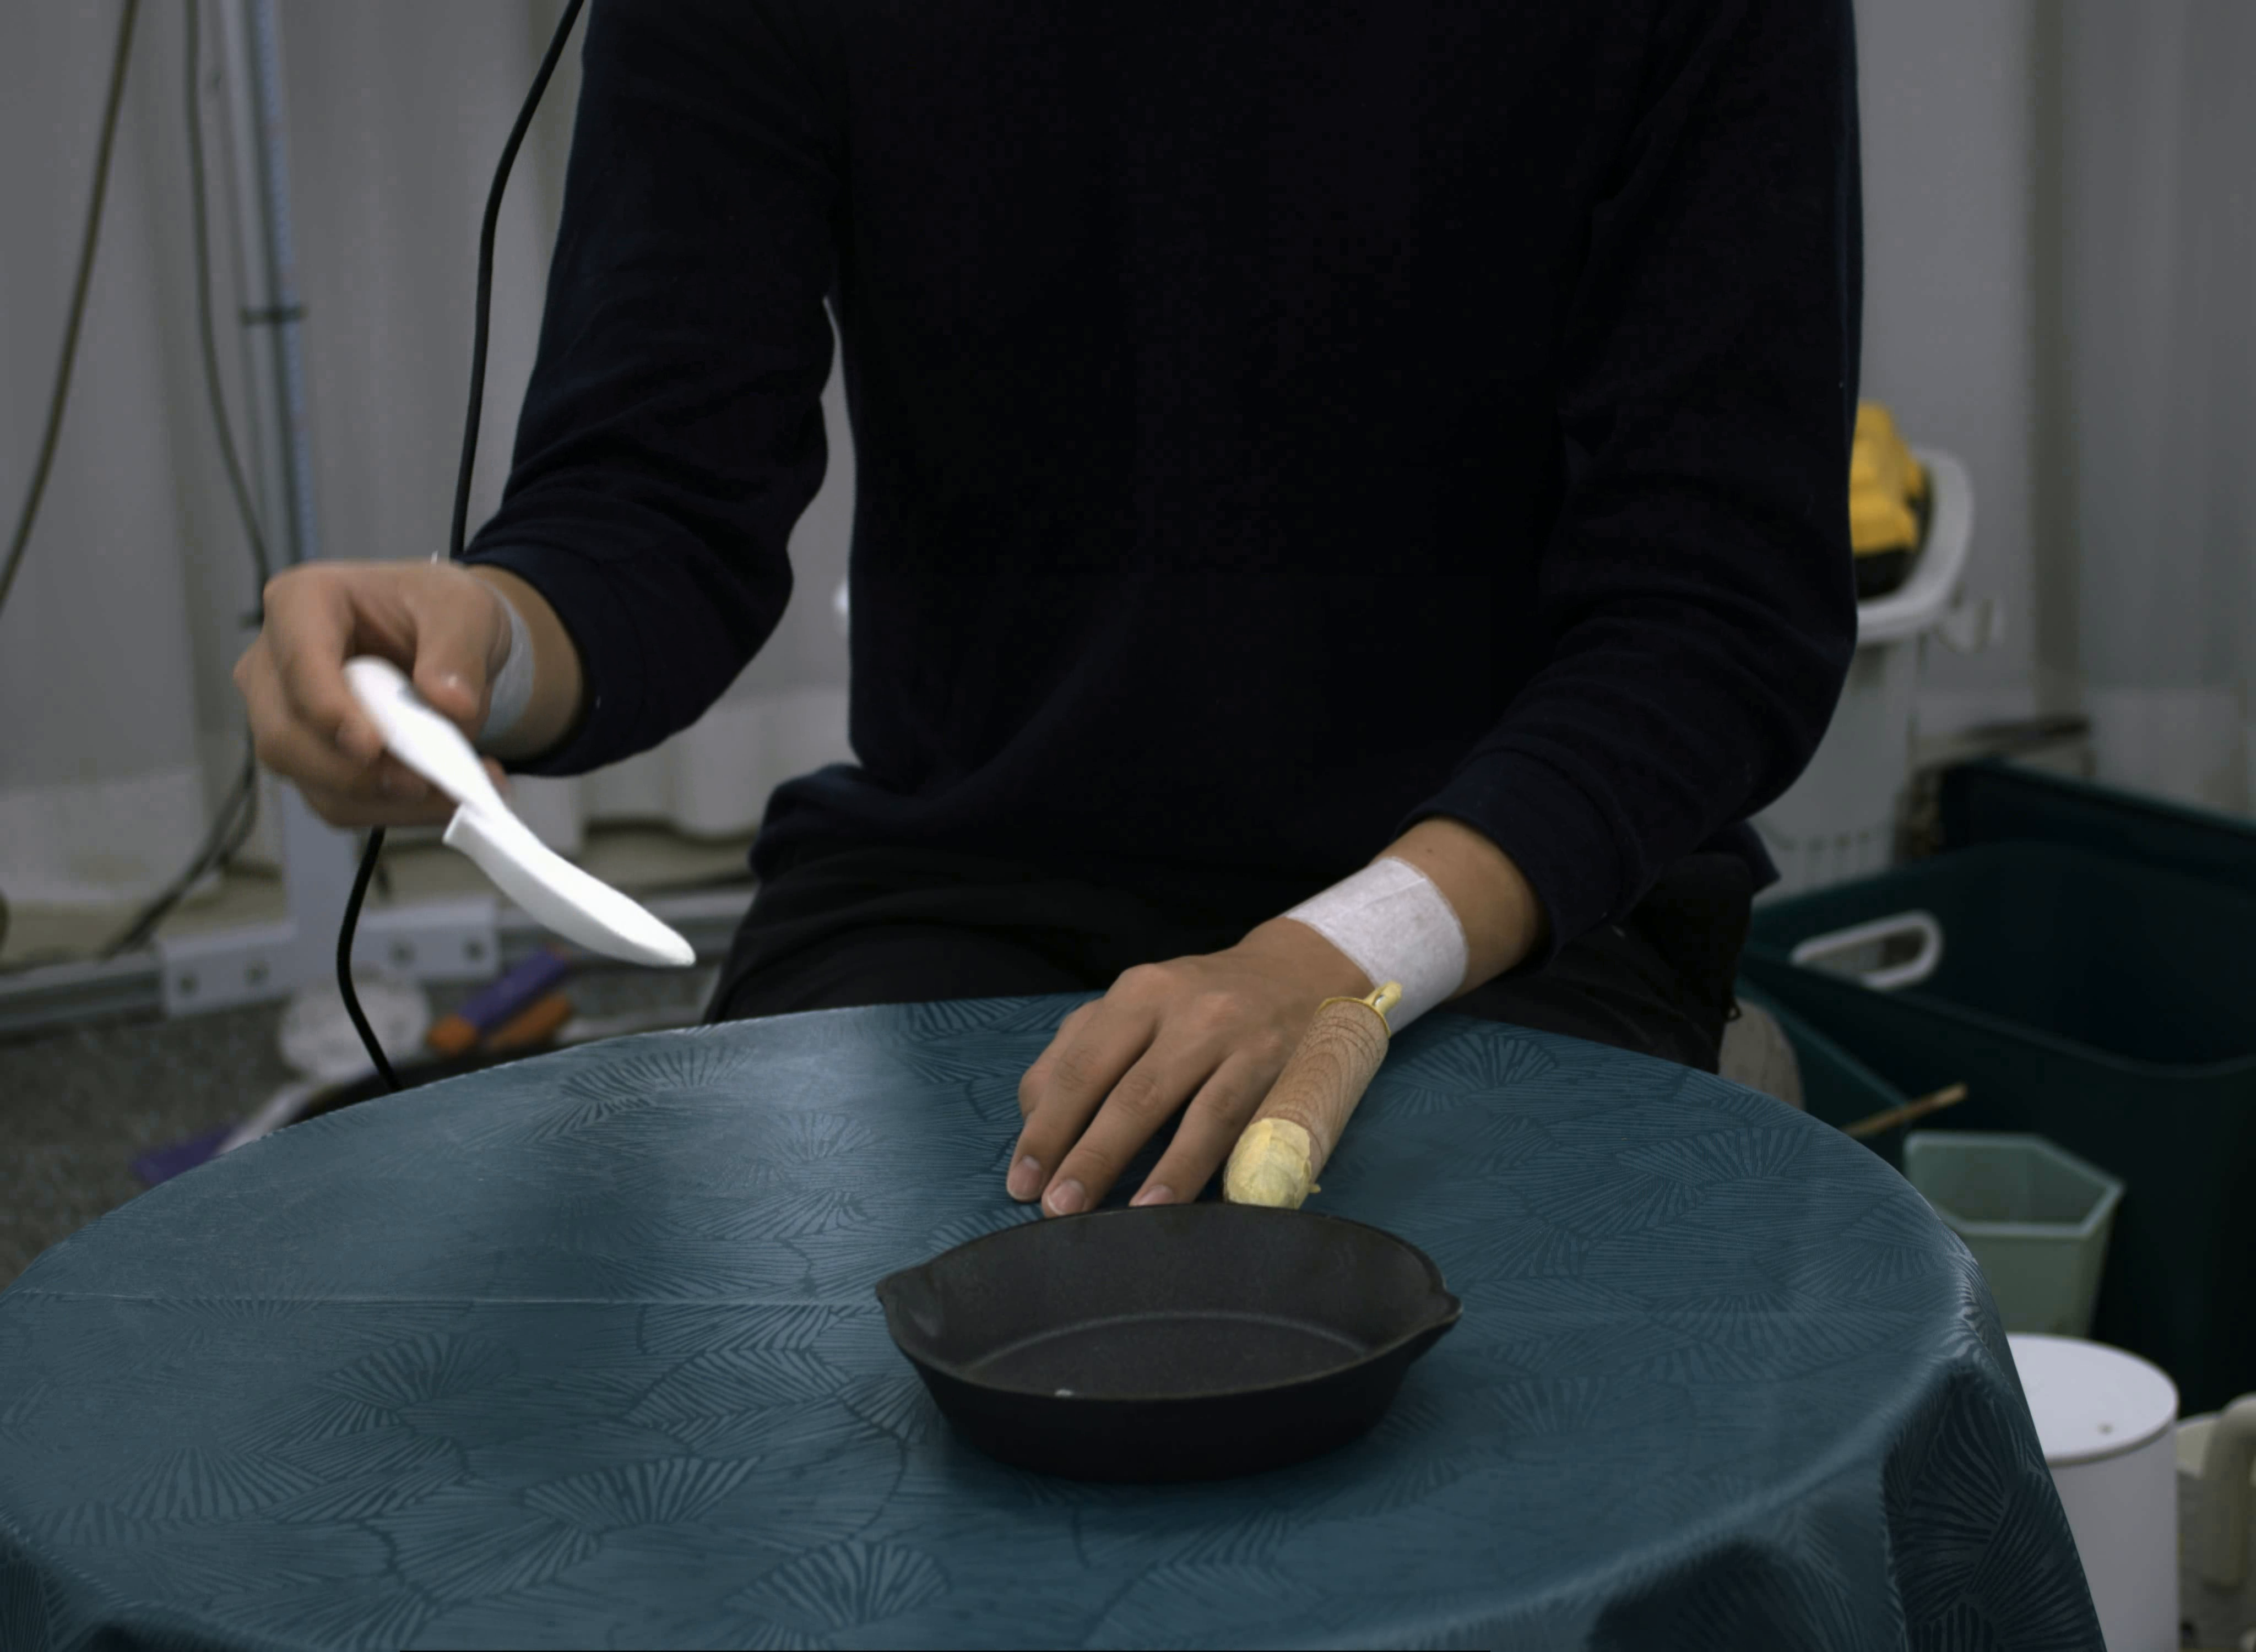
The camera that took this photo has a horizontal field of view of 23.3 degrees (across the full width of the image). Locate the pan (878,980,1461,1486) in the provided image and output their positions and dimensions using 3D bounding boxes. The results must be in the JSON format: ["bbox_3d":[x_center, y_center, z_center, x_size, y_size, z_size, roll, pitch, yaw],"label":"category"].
[{"bbox_3d":[0.036,0.116,1.607,0.169,0.049,0.325,2,17,18],"label":"pan"}]

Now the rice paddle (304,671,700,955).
[{"bbox_3d":[-0.179,-0.002,1.541,0.068,0.029,0.207,24,3,-35],"label":"rice paddle"}]
